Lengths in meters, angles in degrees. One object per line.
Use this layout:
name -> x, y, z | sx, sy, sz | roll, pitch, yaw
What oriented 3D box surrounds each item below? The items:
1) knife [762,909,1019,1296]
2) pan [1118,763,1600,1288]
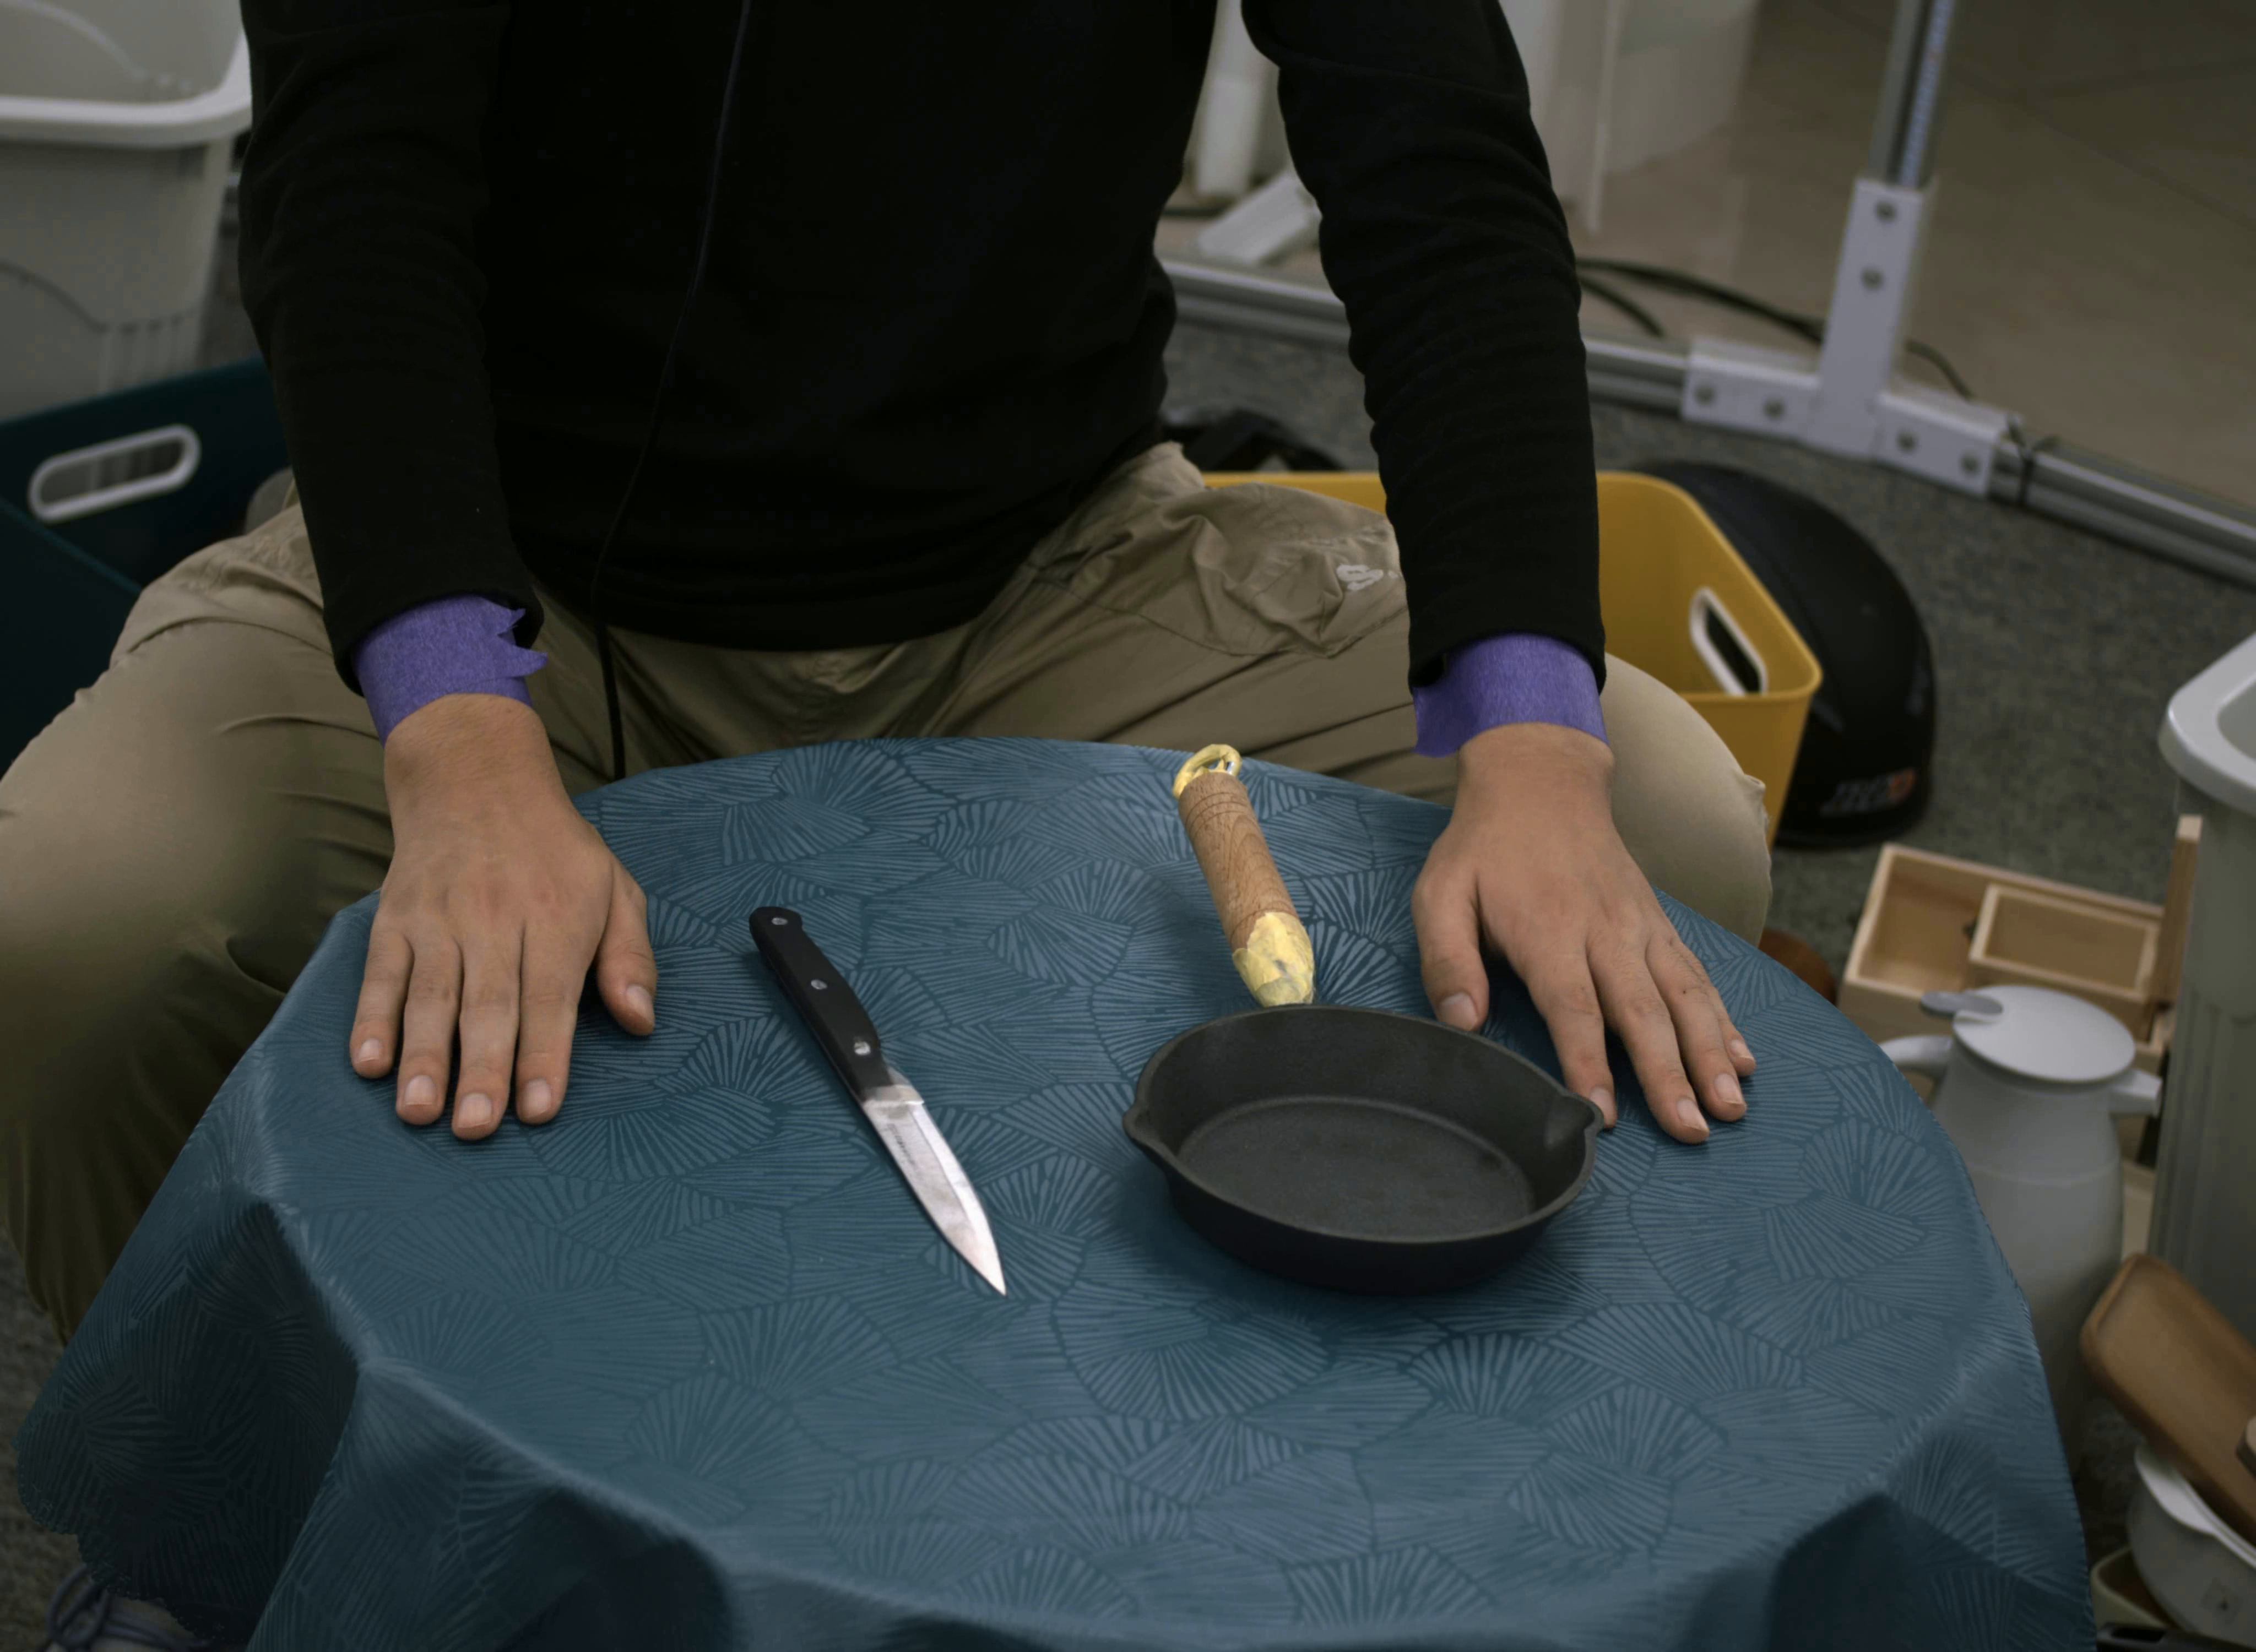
knife -> -0.083, 0.094, 1.832 | 0.024, 0.016, 0.240 | -5, 32, -22
pan -> 0.062, 0.068, 1.879 | 0.168, 0.049, 0.327 | 0, 27, -13
